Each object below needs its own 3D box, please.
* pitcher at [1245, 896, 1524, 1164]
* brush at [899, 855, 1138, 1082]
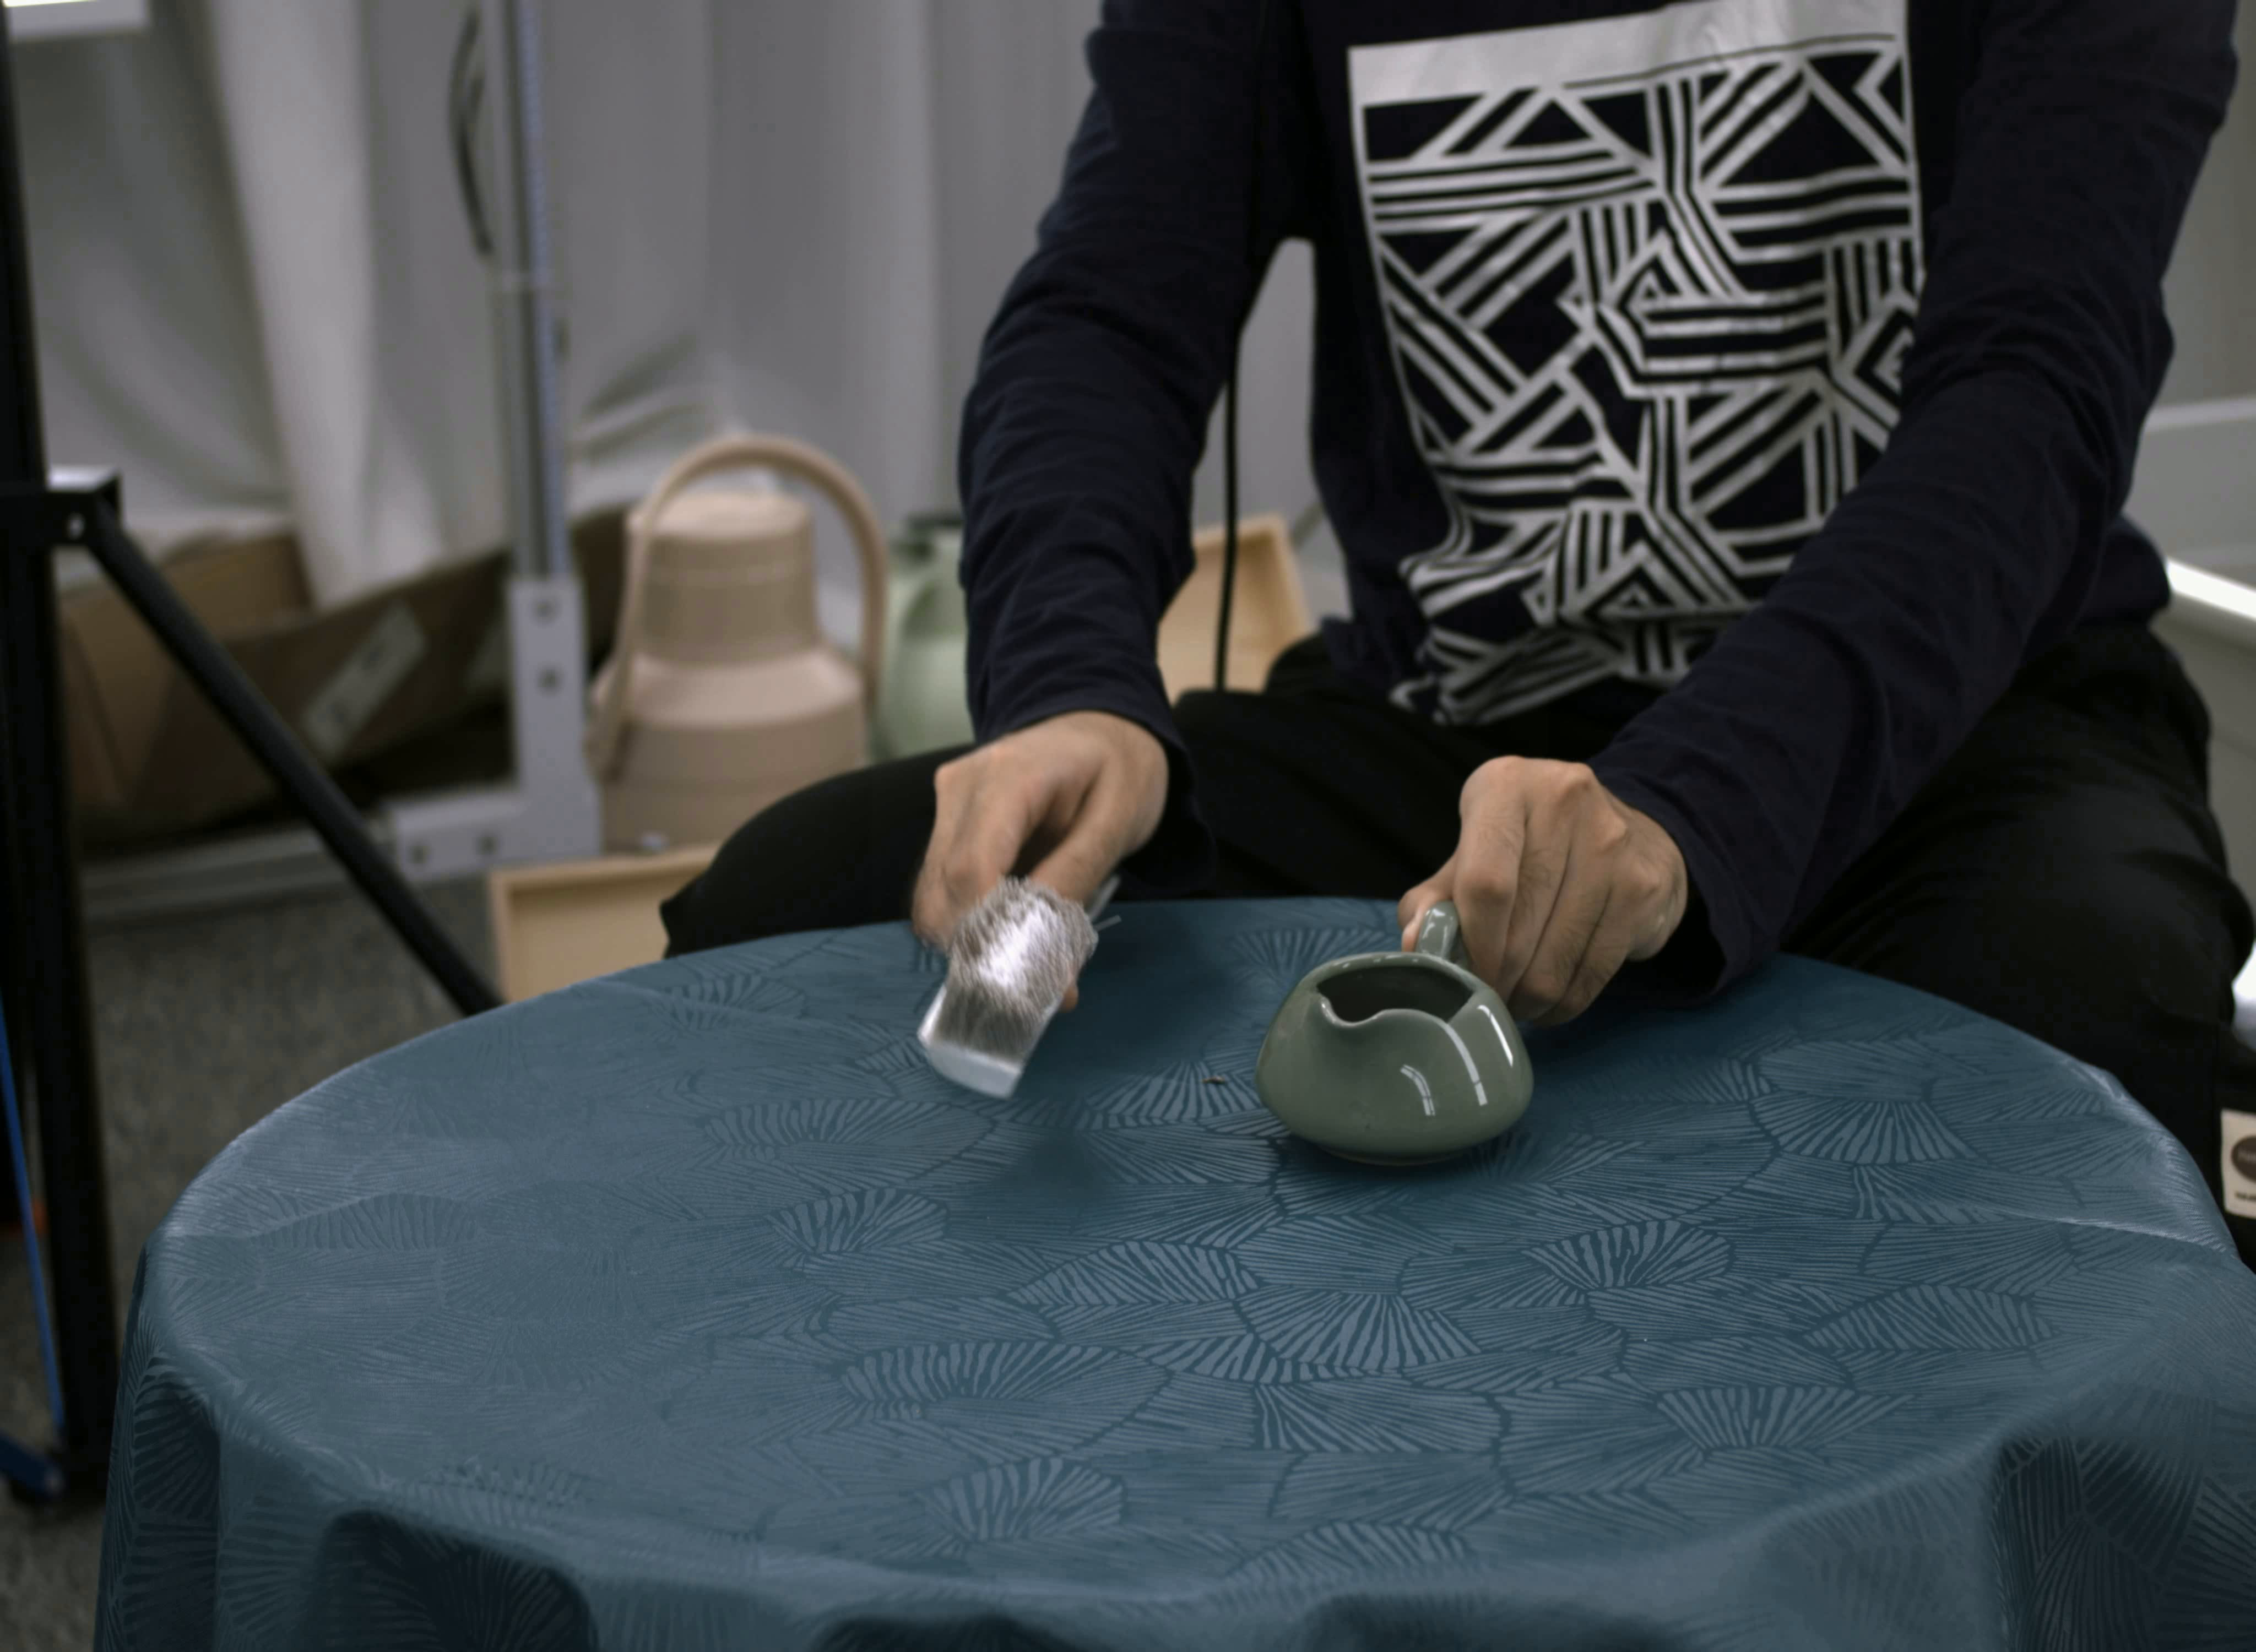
[{"bbox_3d":[0.080,0.063,1.594,0.085,0.056,0.111,9,22,16],"label":"pitcher"},{"bbox_3d":[-0.023,0.025,1.665,0.034,0.050,0.242,25,17,6],"label":"brush"}]
